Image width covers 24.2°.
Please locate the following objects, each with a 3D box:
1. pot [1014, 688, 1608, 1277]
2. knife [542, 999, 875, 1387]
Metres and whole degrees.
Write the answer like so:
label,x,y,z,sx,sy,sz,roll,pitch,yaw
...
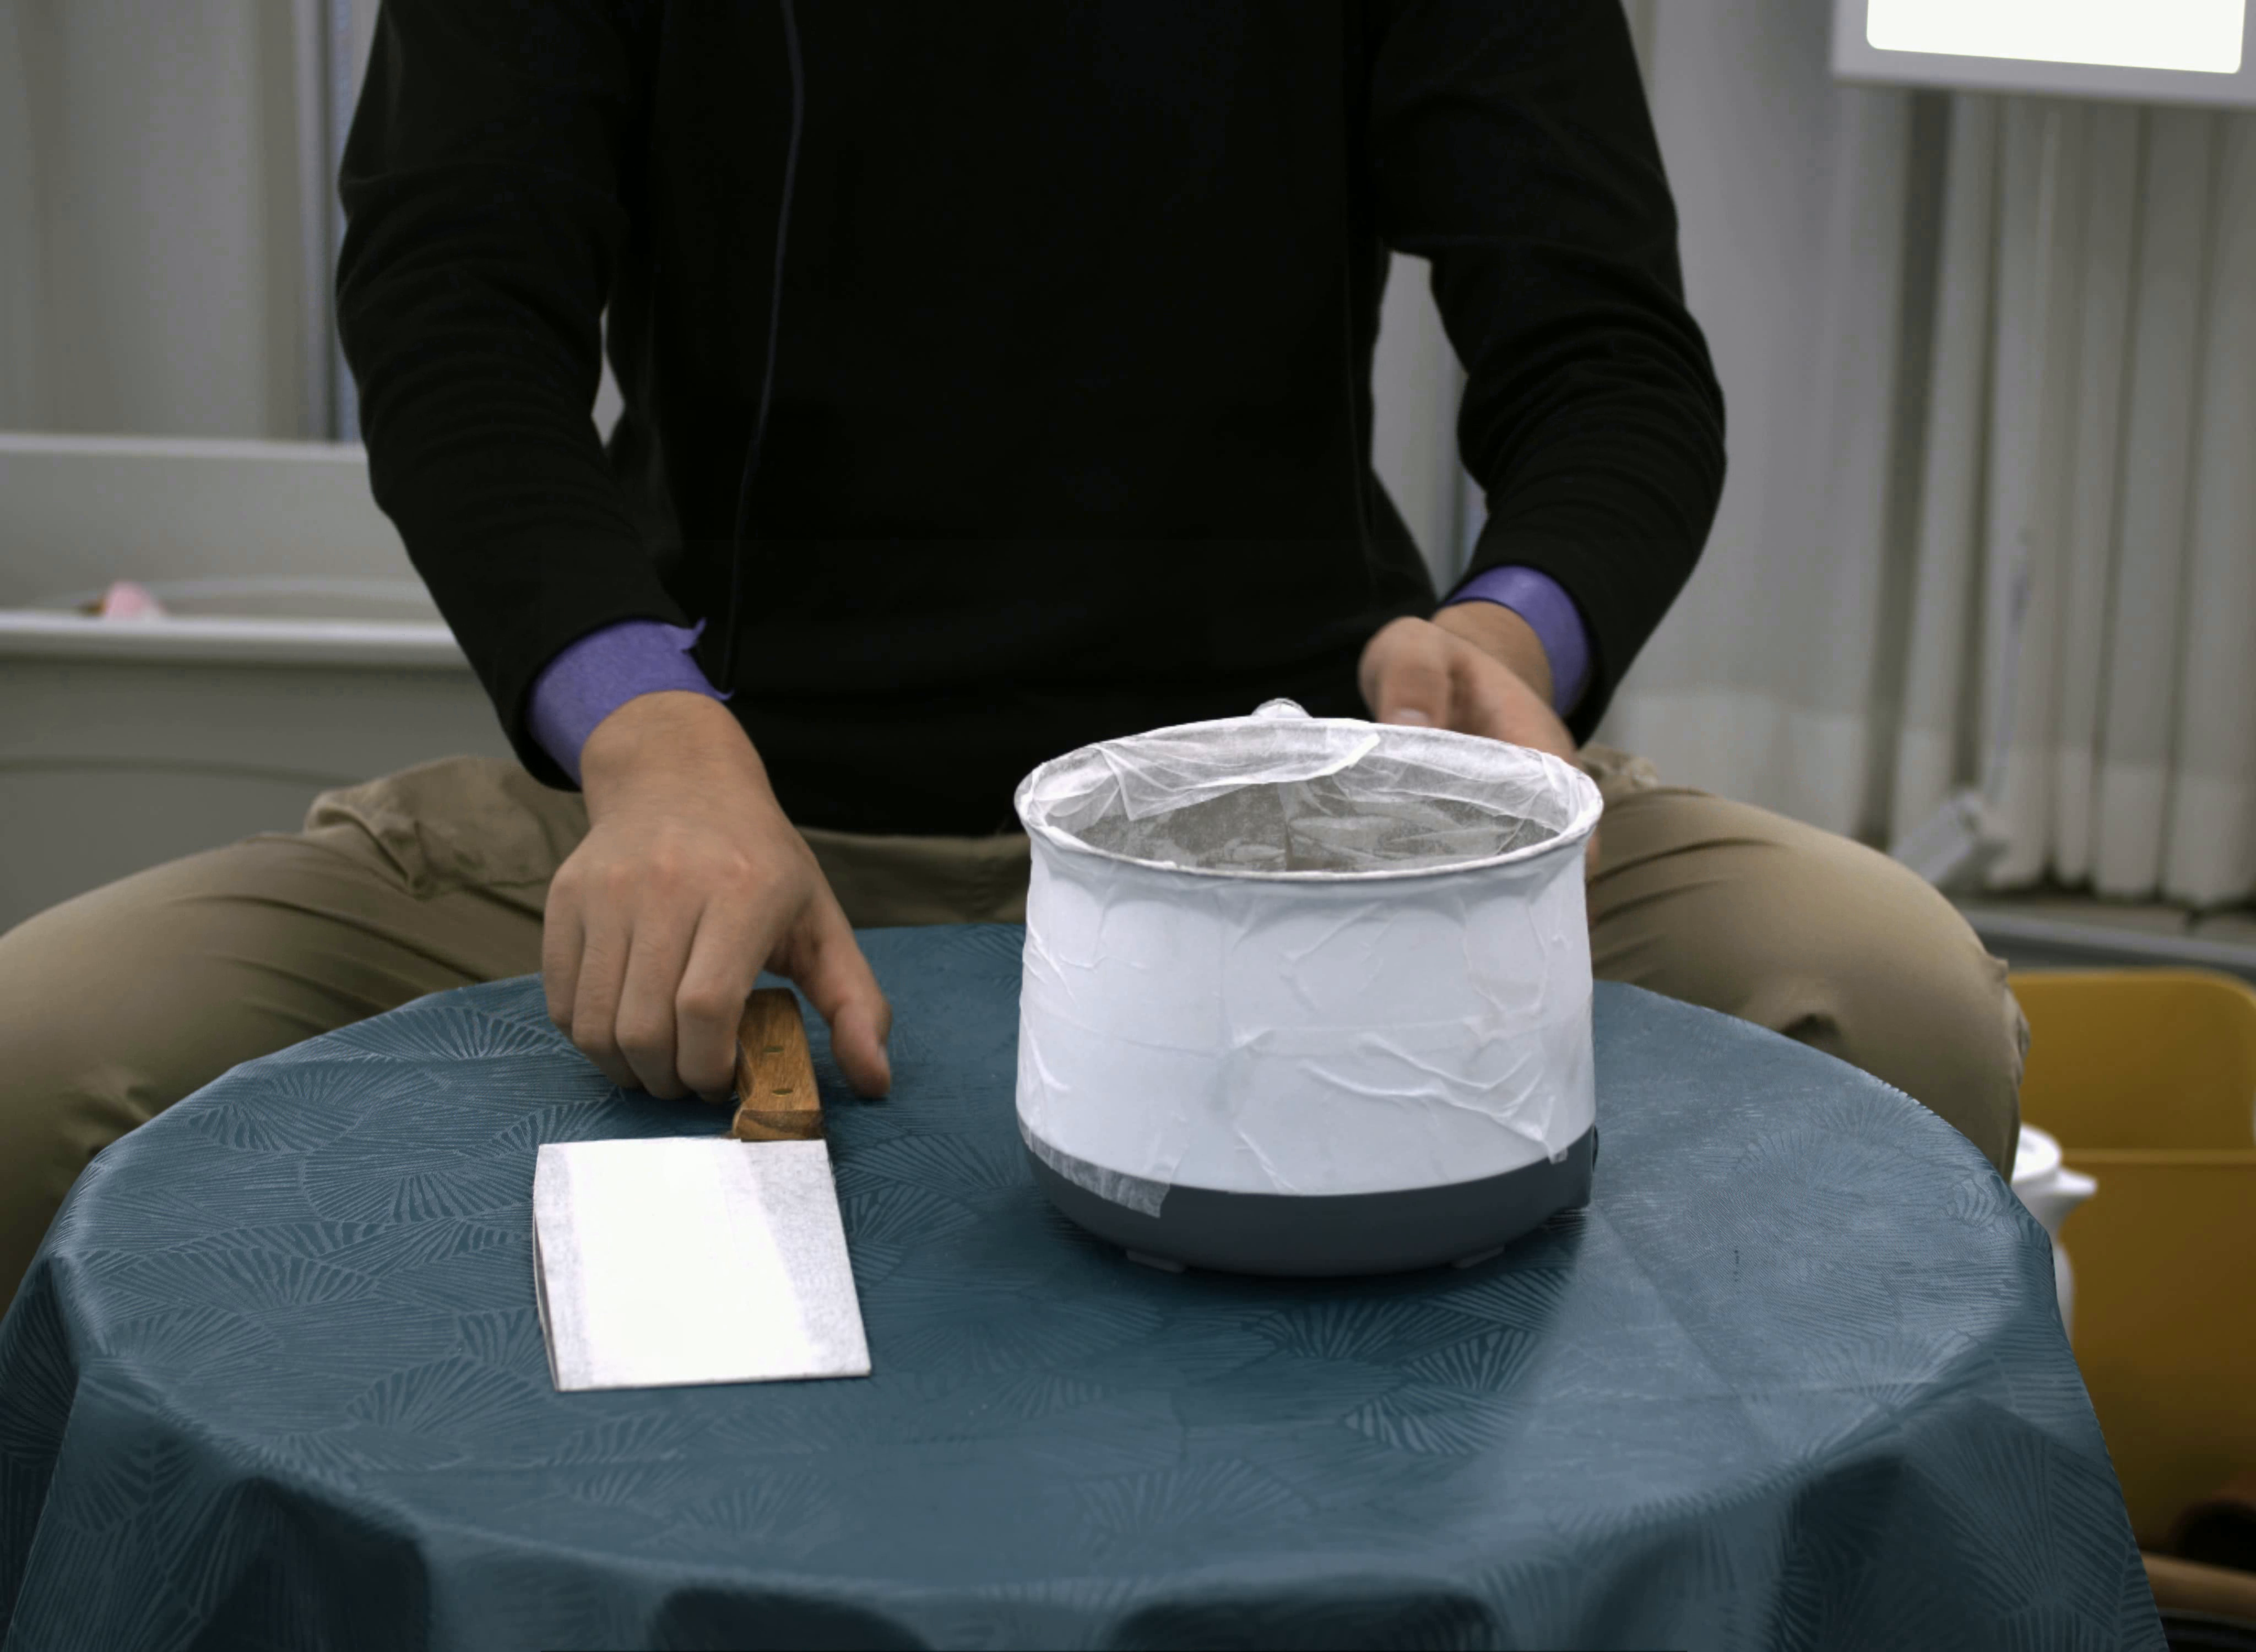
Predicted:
label,x,y,z,sx,sy,sz,roll,pitch,yaw
pot,0.052,0.042,1.614,0.178,0.138,0.232,0,17,-5
knife,-0.132,0.110,1.604,0.093,0.021,0.303,-1,17,-7
